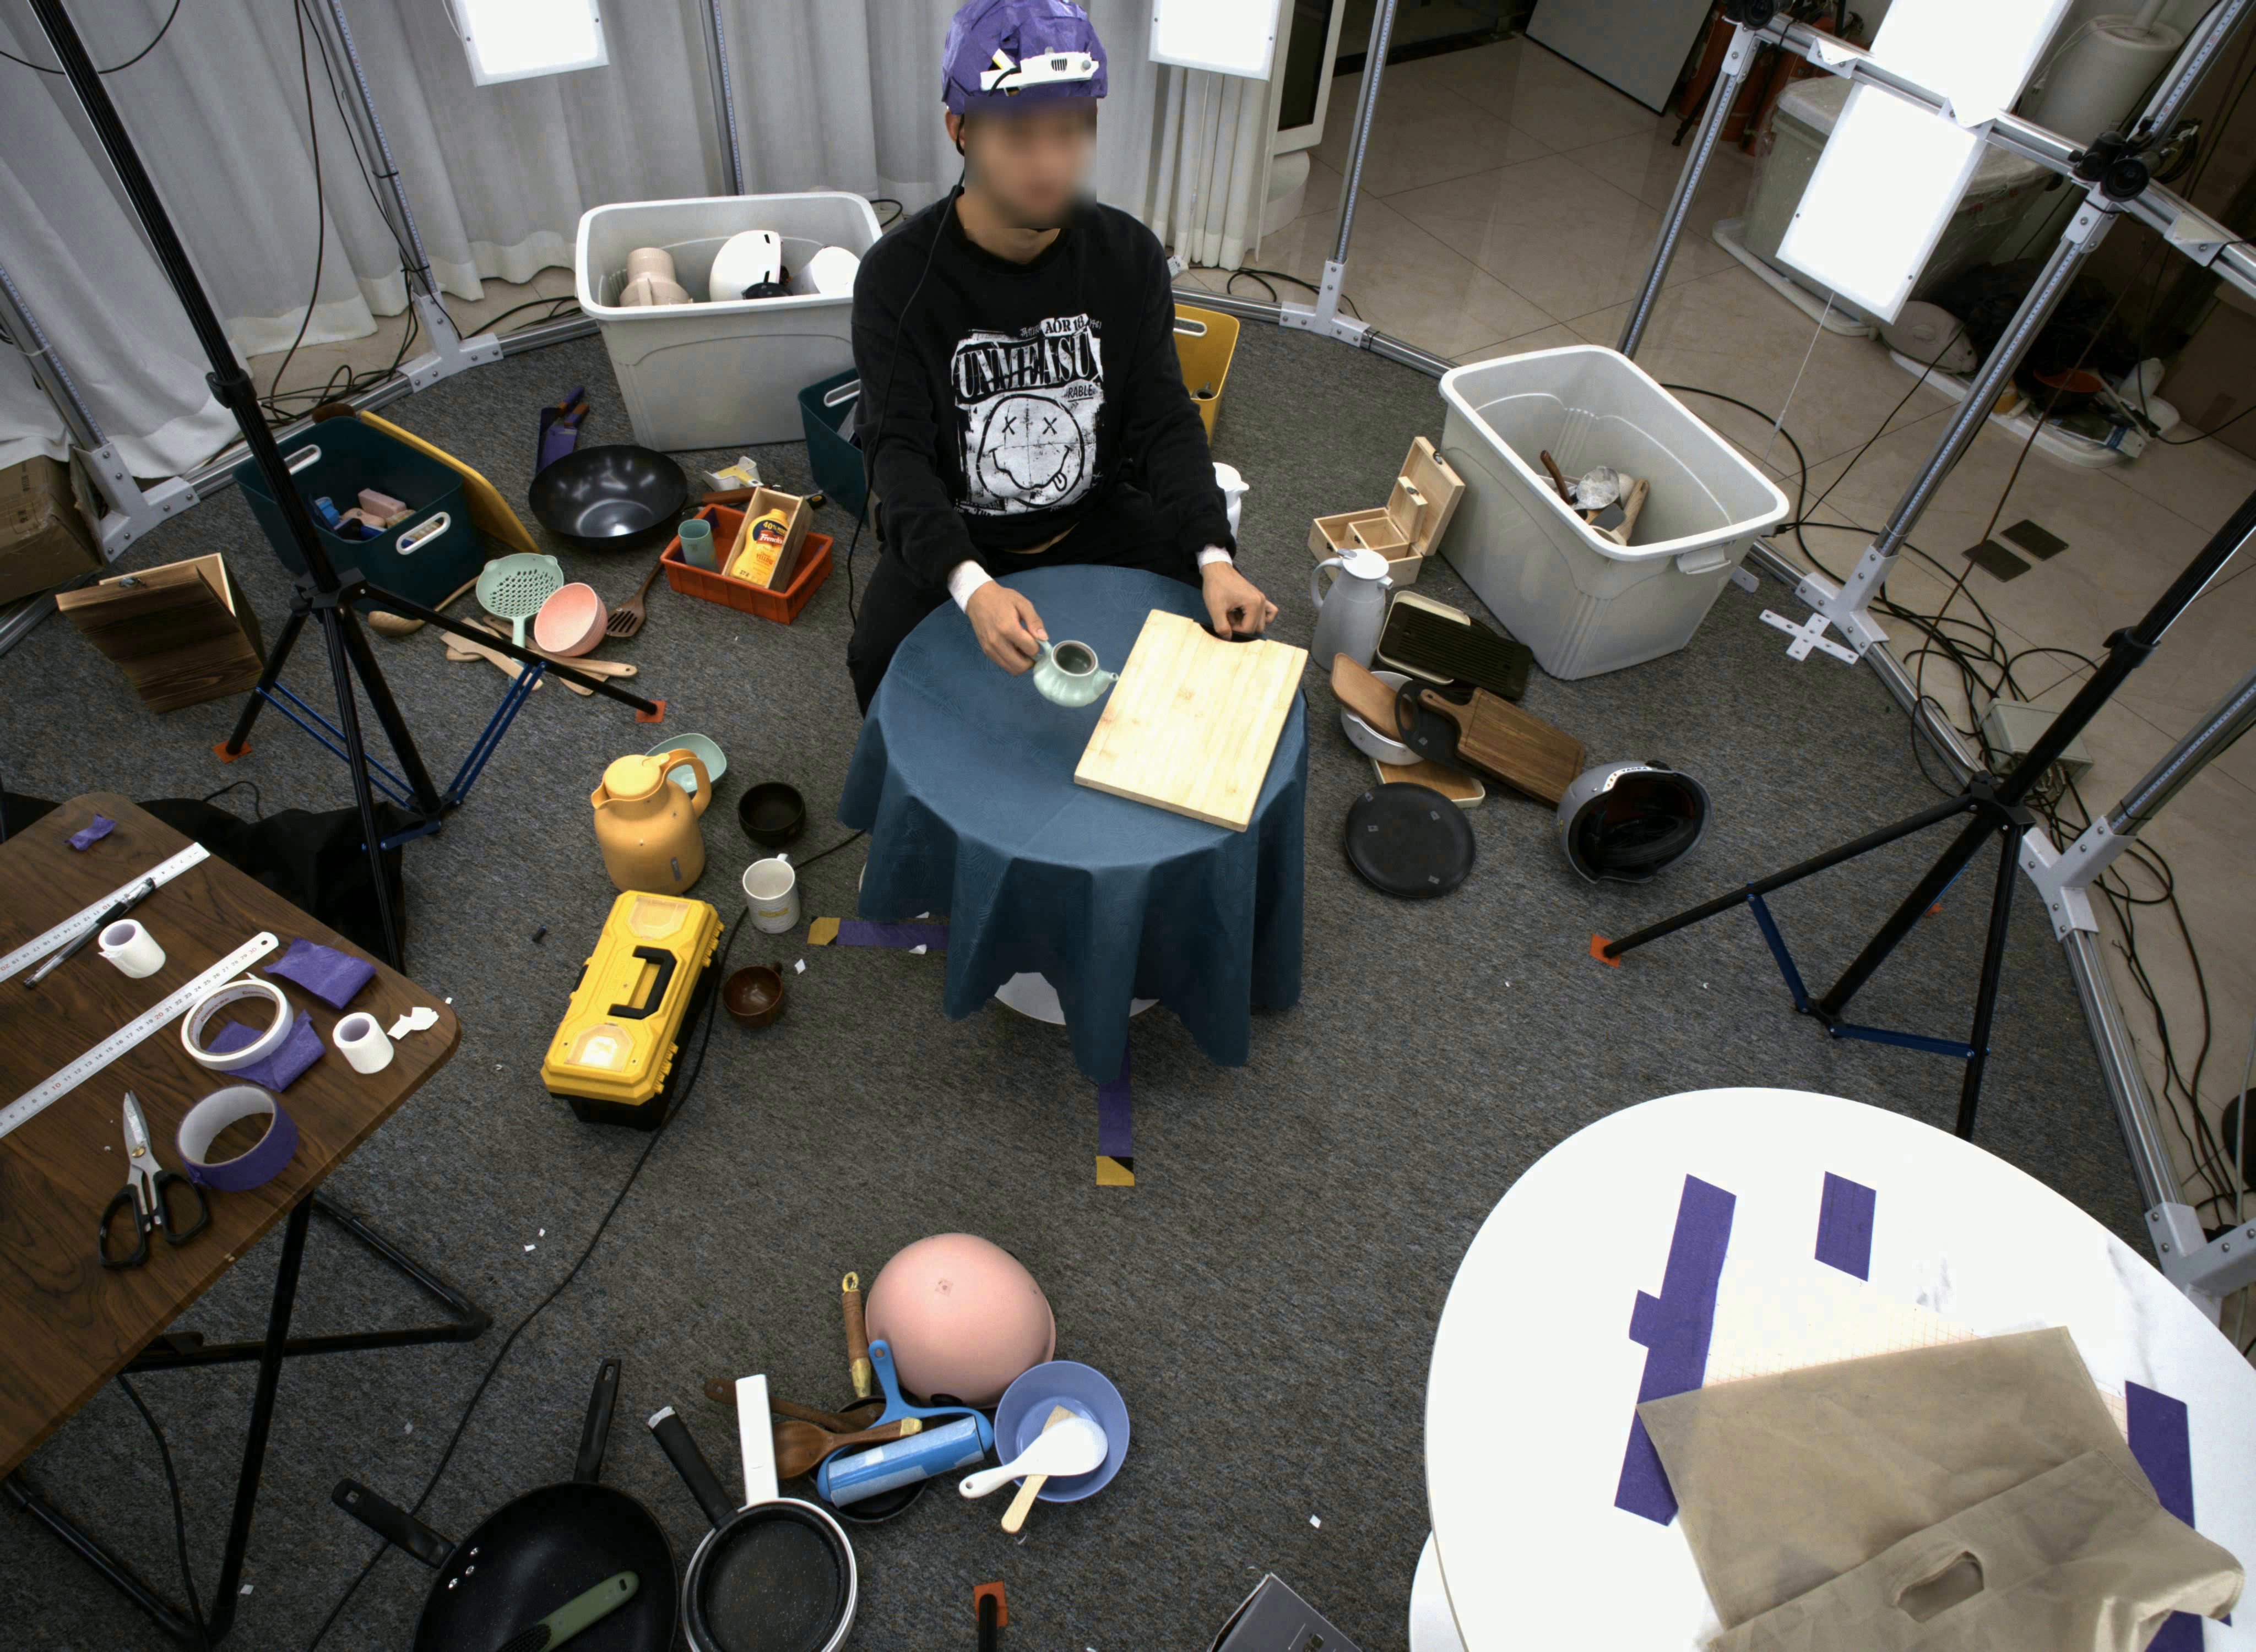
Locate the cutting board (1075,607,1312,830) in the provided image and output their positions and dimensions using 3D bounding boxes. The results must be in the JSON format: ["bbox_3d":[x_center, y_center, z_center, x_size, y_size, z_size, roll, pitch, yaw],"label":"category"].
[{"bbox_3d":[0.097,-0.160,1.793,0.251,0.023,0.356,15,53,9],"label":"cutting board"}]

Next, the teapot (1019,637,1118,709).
[{"bbox_3d":[-0.082,-0.207,1.703,0.137,0.060,0.098,25,54,2],"label":"teapot"}]
